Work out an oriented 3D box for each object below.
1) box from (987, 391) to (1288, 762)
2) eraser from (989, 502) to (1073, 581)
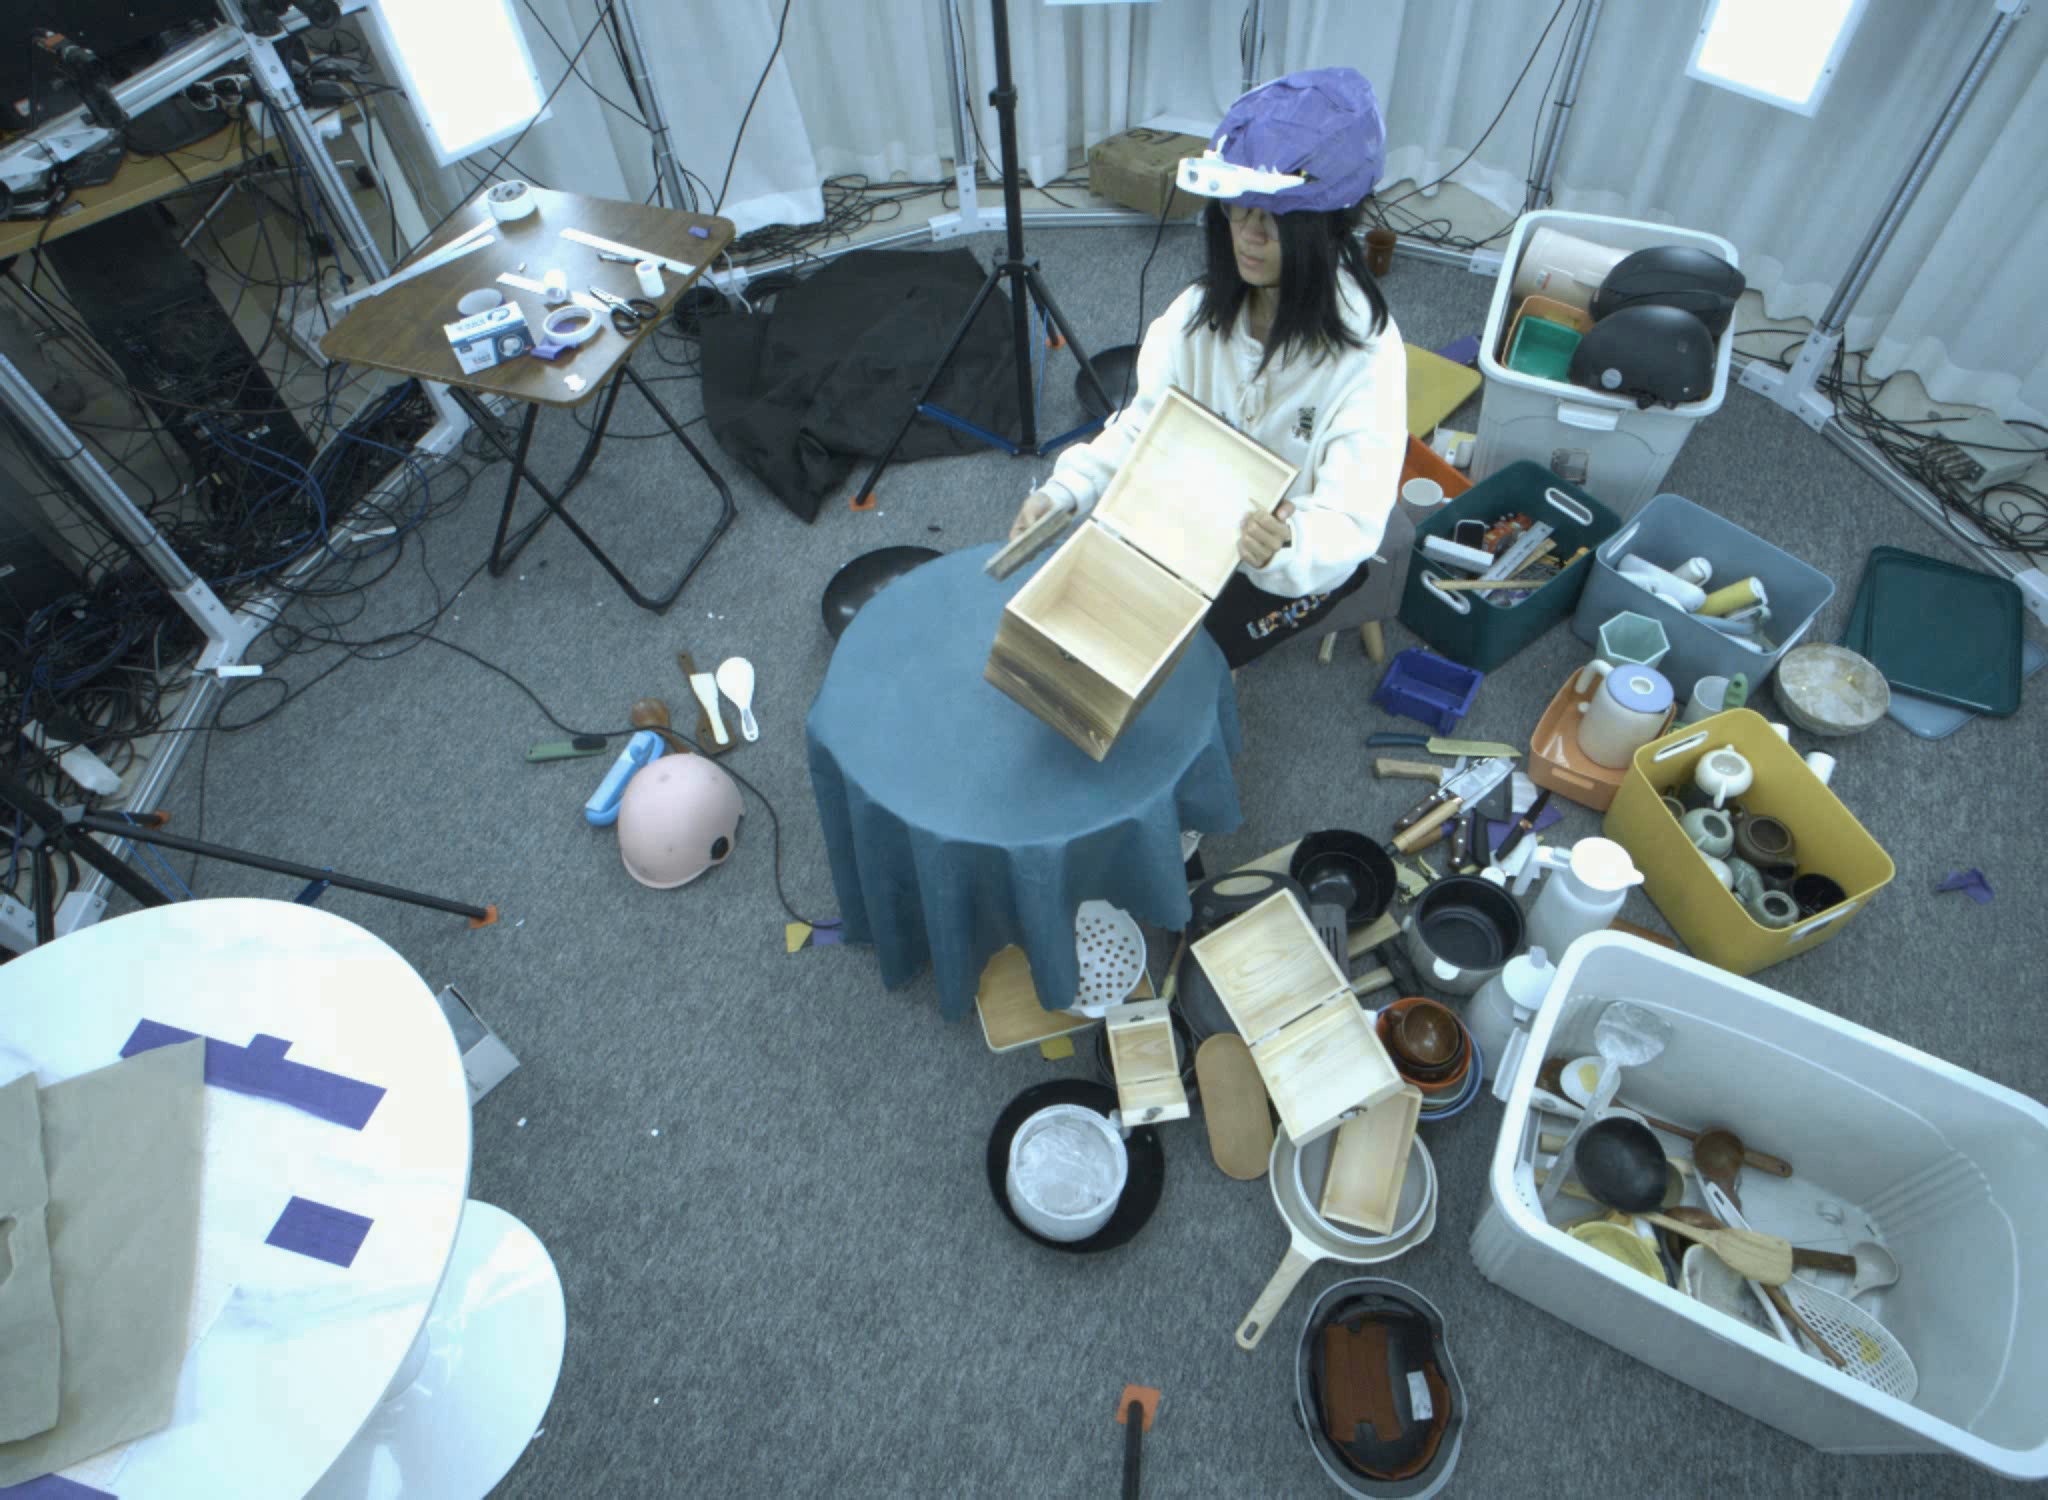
[{"bbox_3d":[0.140,-0.227,1.597,0.207,0.376,0.323,35,60,7],"label":"box"},{"bbox_3d":[0.010,-0.298,1.769,0.140,0.057,0.029,-40,86,-11],"label":"eraser"}]
